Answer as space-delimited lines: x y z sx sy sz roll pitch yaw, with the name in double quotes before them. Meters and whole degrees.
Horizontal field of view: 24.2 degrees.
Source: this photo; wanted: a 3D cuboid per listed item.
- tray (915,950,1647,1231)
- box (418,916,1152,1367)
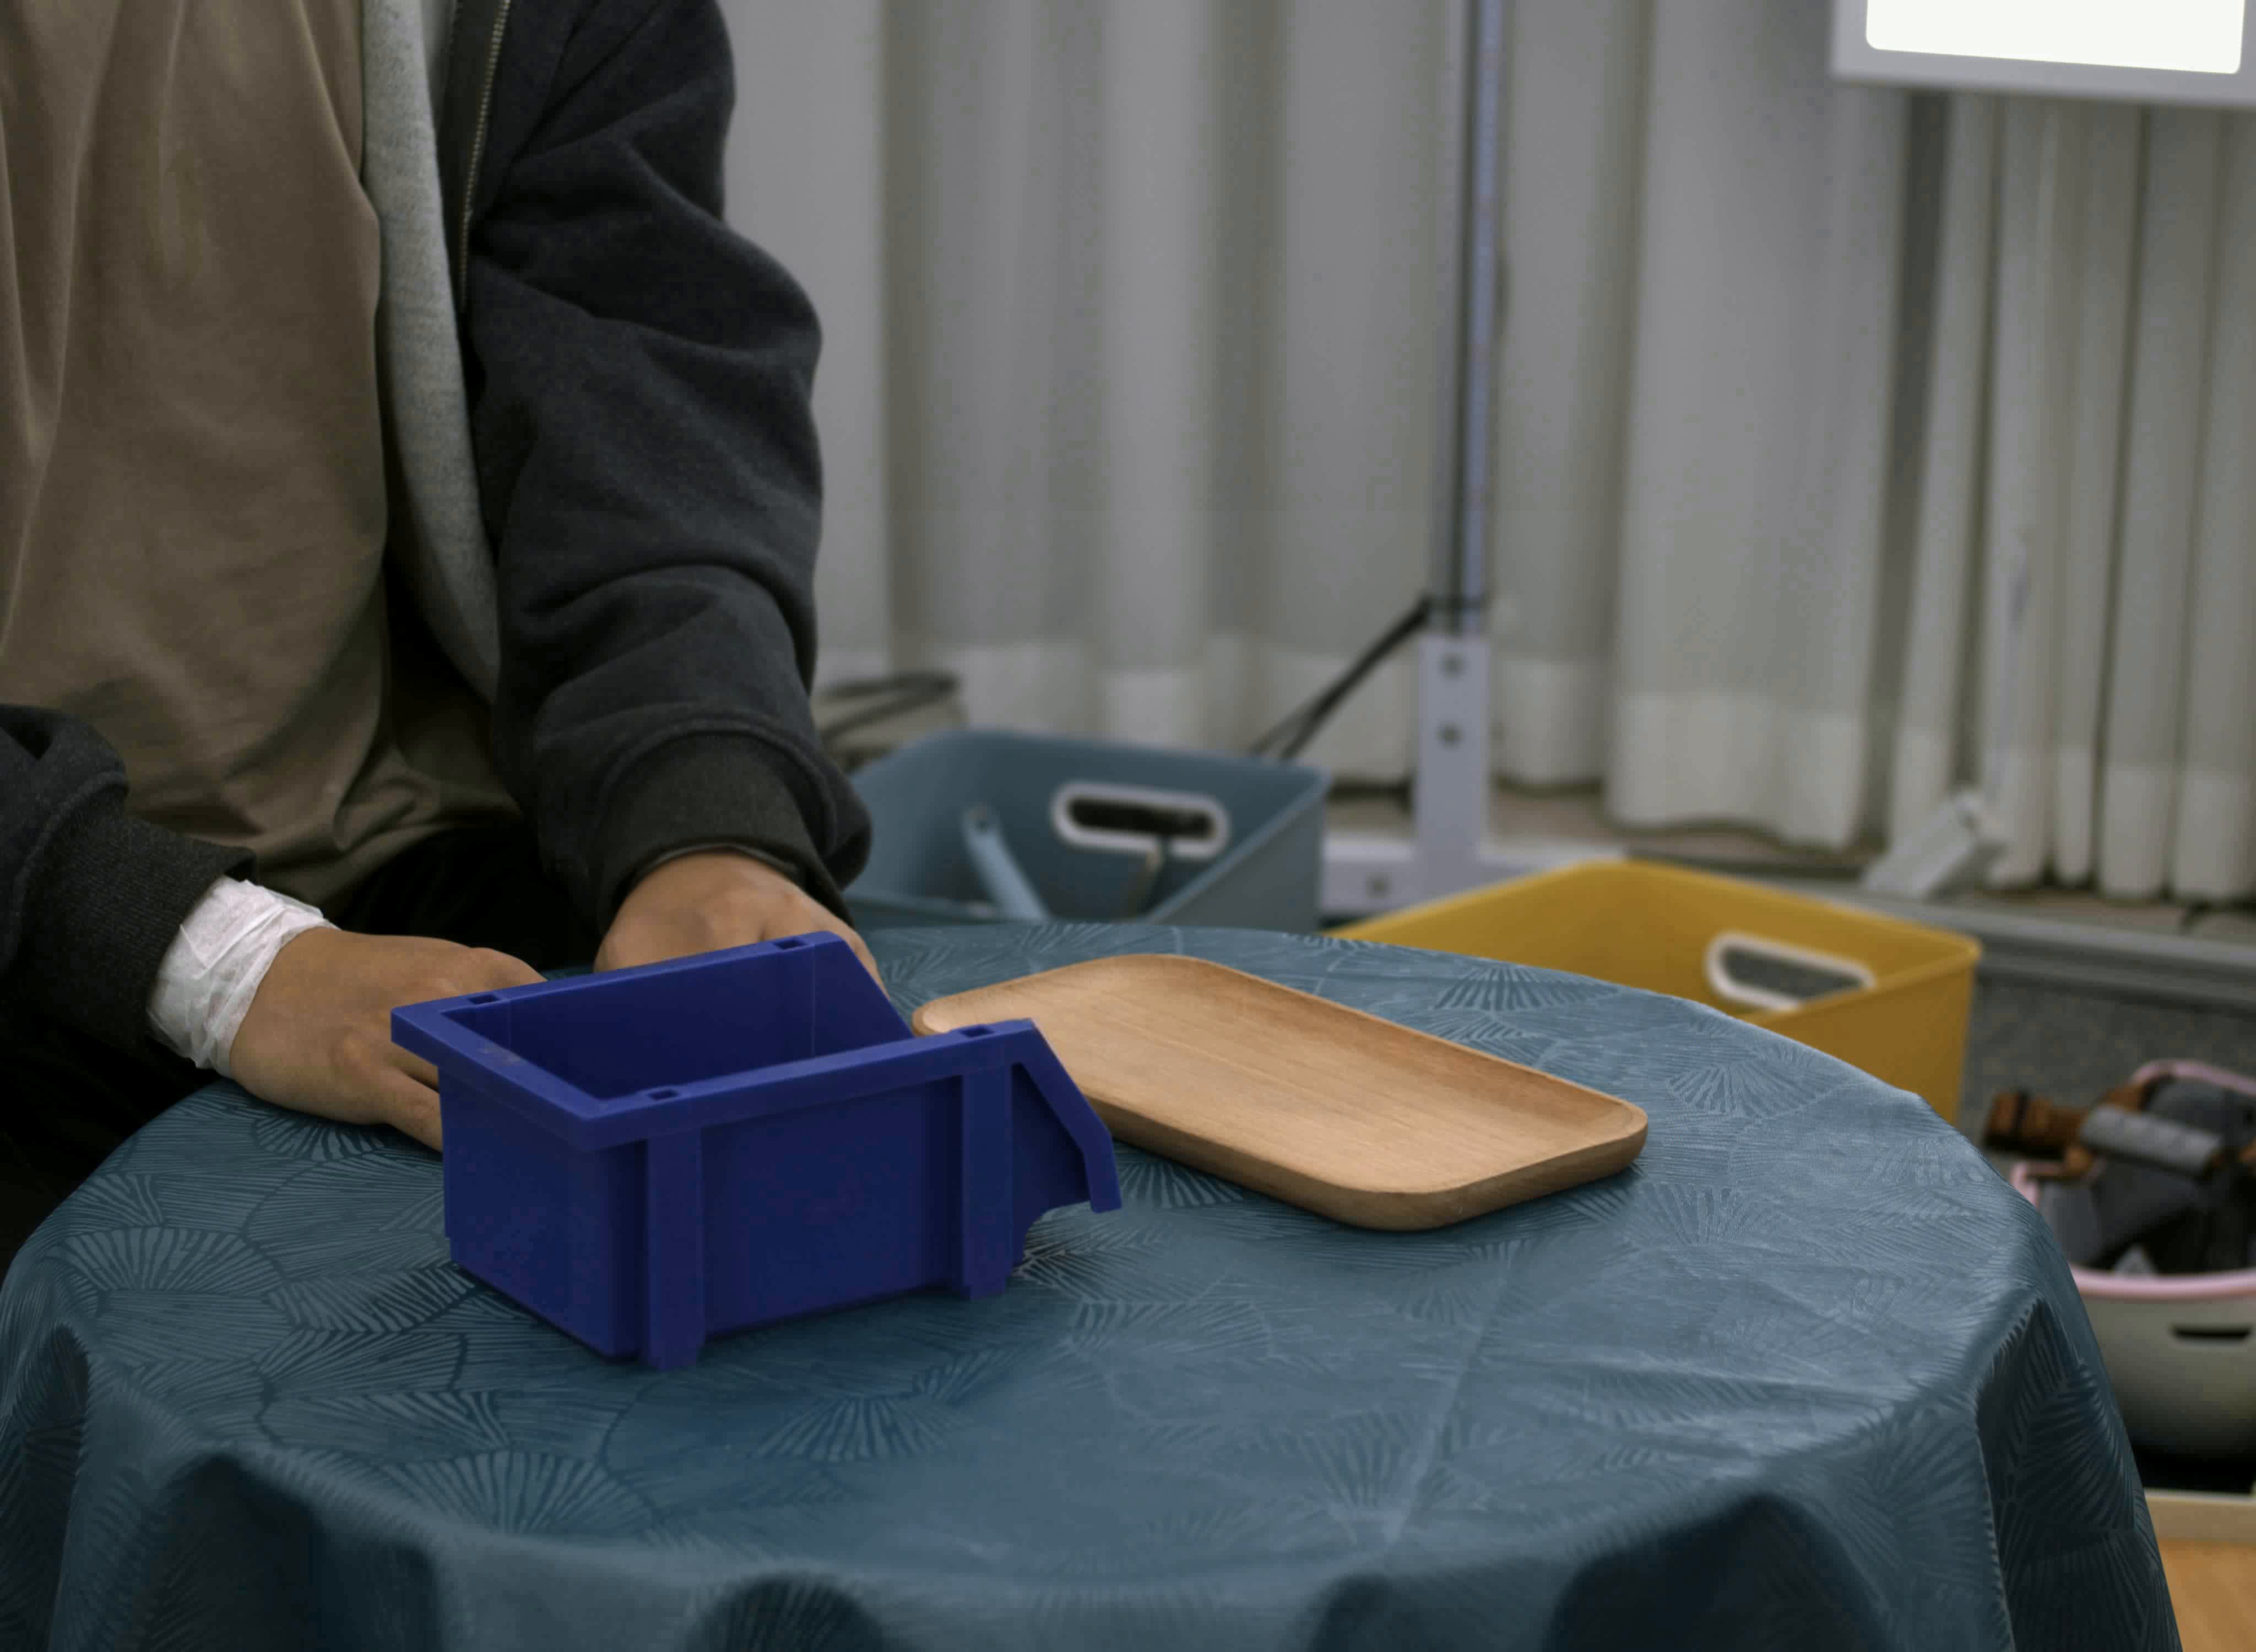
"tray" 0.045 0.083 1.698 0.131 0.023 0.247 -9 18 -40
"box" -0.101 0.088 1.551 0.180 0.082 0.123 -13 20 -30
